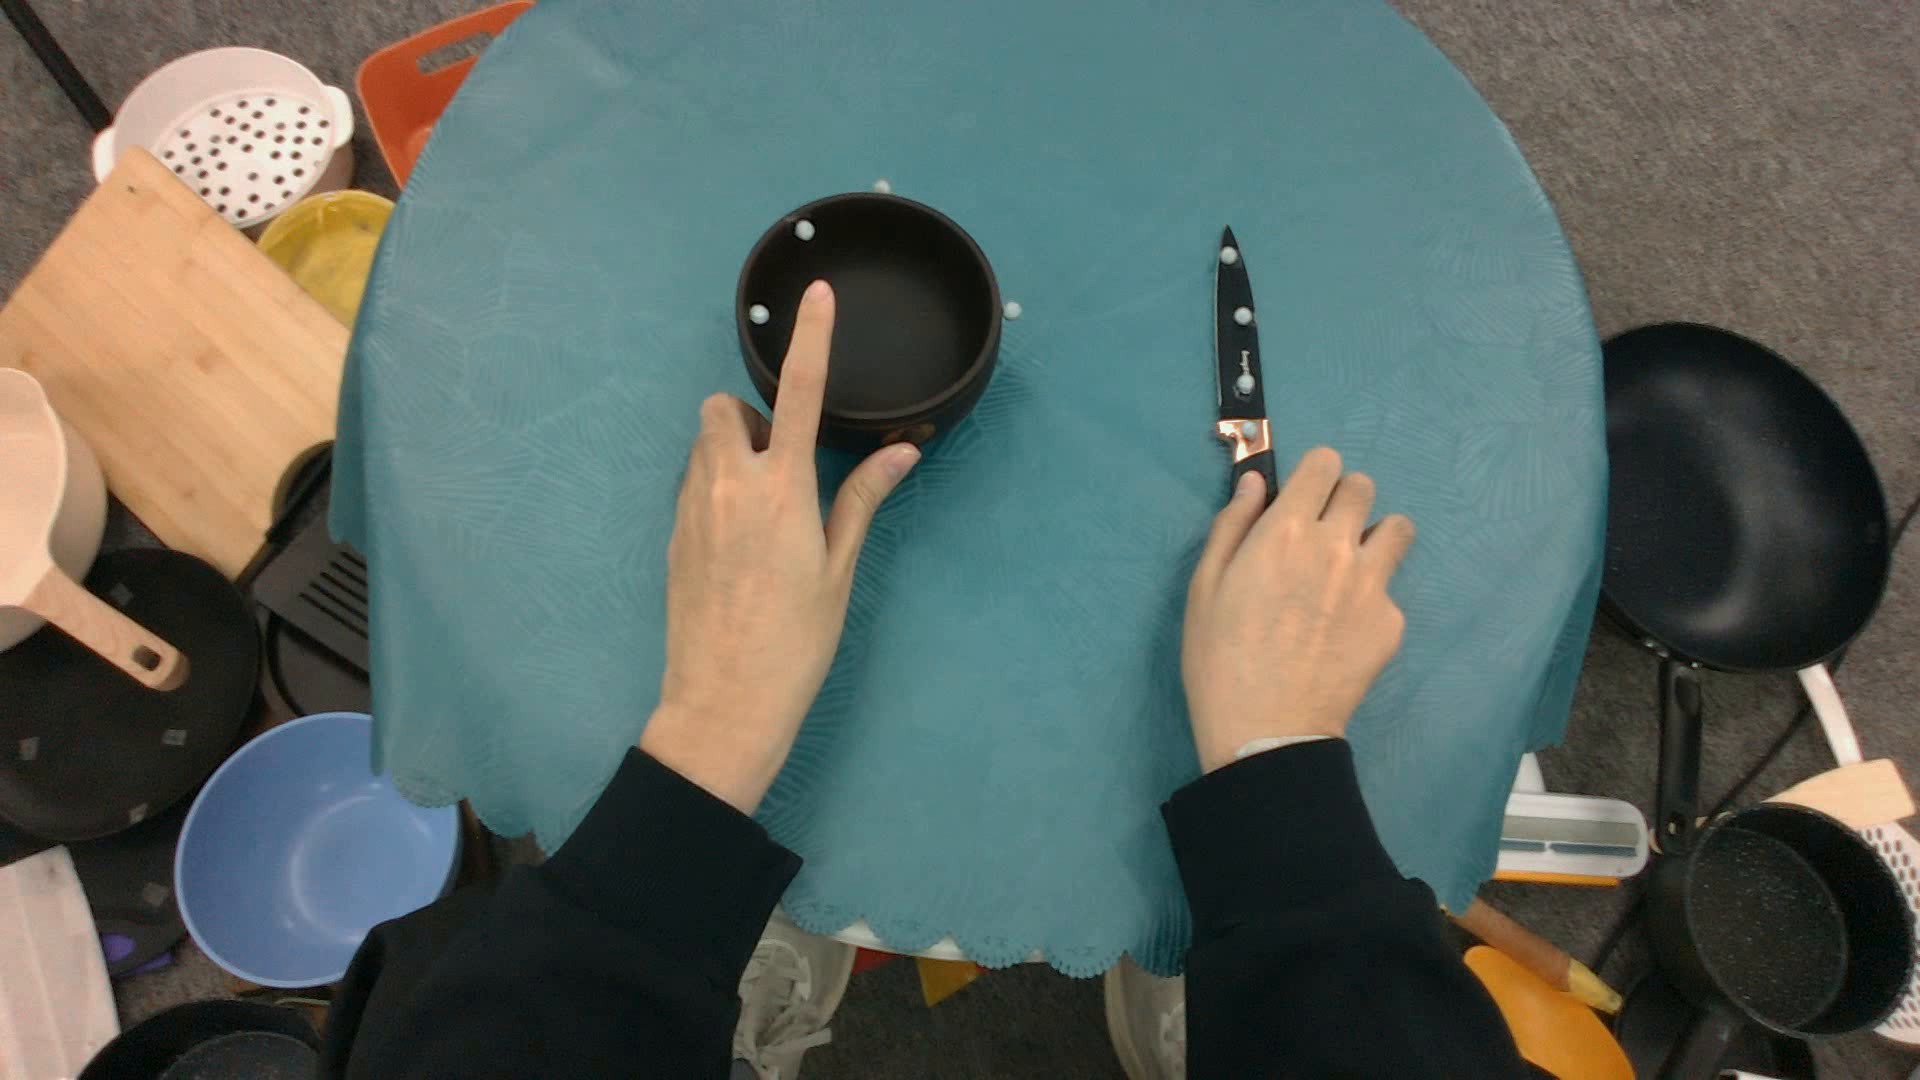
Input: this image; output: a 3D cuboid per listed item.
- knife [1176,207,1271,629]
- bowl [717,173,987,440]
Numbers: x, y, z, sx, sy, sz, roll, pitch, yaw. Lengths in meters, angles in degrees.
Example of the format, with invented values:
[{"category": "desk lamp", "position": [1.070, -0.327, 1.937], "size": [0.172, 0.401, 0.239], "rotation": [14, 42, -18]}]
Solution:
[{"category": "knife", "position": [0.125, -0.065, 0.656], "size": [0.026, 0.017, 0.226], "rotation": [-4, 68, 3]}, {"category": "bowl", "position": [-0.047, -0.098, 0.623], "size": [0.118, 0.069, 0.118], "rotation": [1, 70, -1]}]
